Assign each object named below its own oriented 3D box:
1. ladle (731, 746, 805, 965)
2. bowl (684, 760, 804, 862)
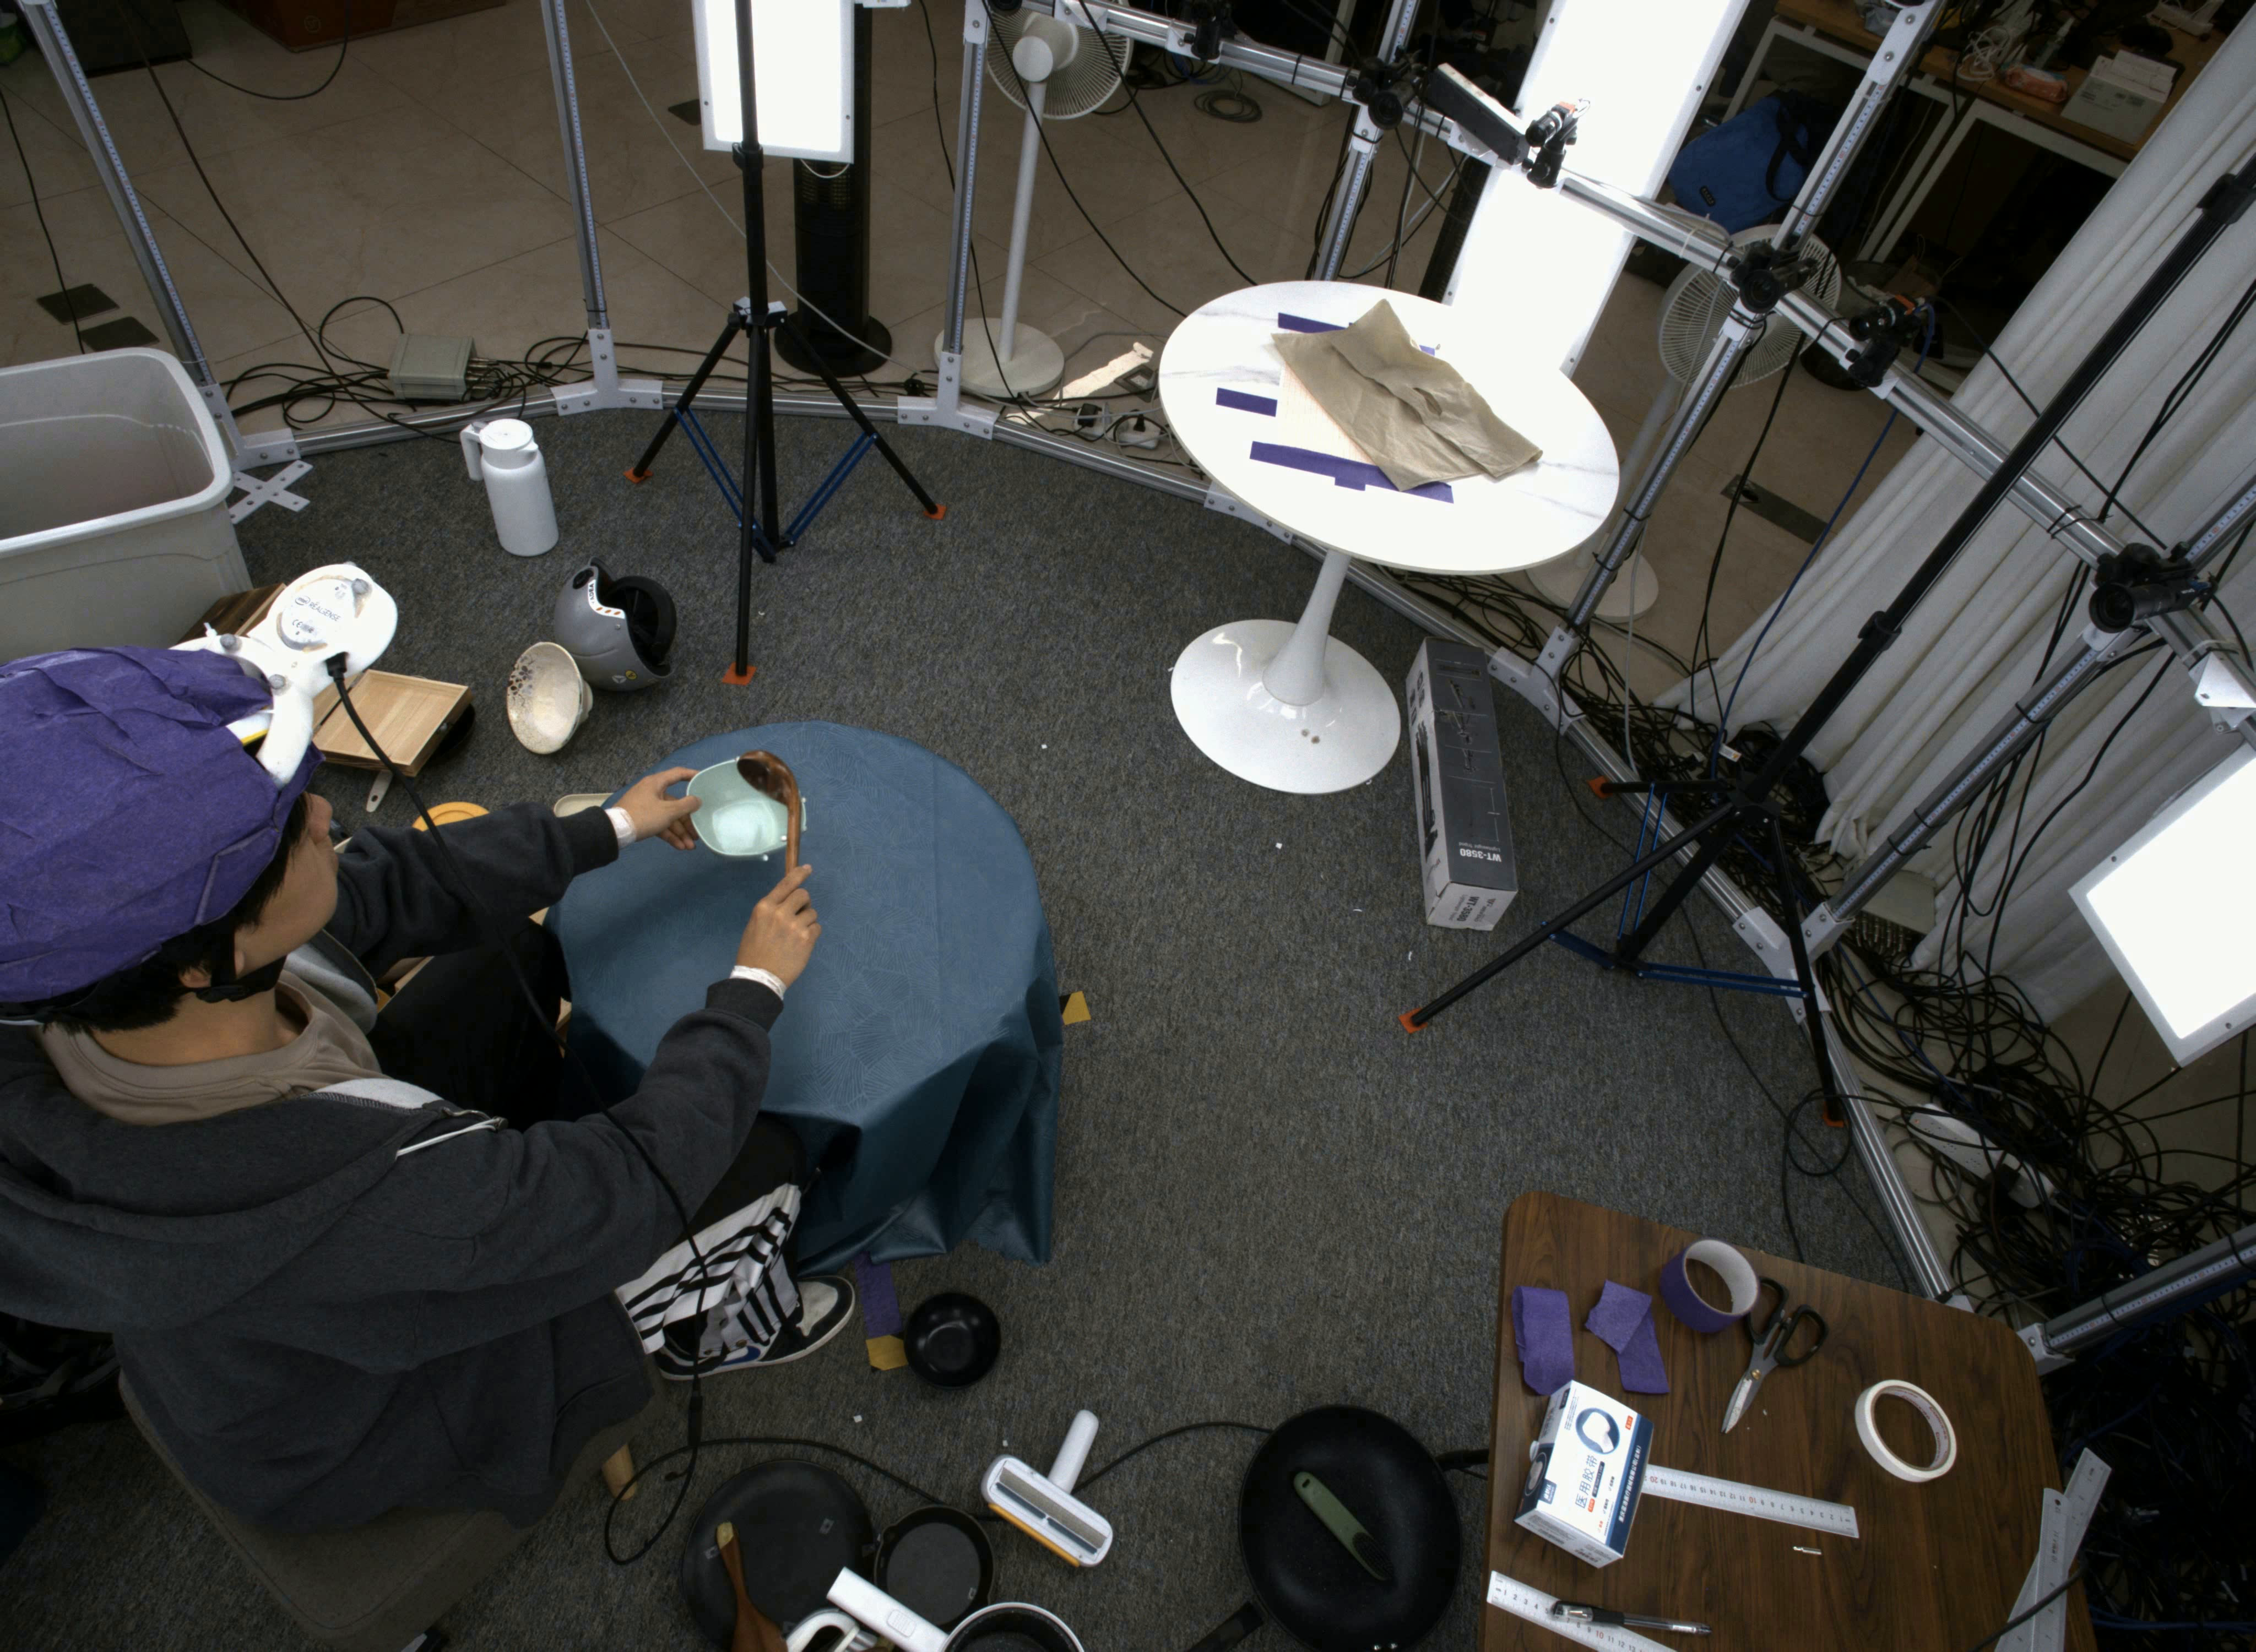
[{"bbox_3d":[-0.414,0.030,1.480,0.076,0.083,0.270,-6,64,-7],"label":"ladle"},{"bbox_3d":[-0.479,-0.010,1.606,0.153,0.059,0.149,14,53,-17],"label":"bowl"}]
